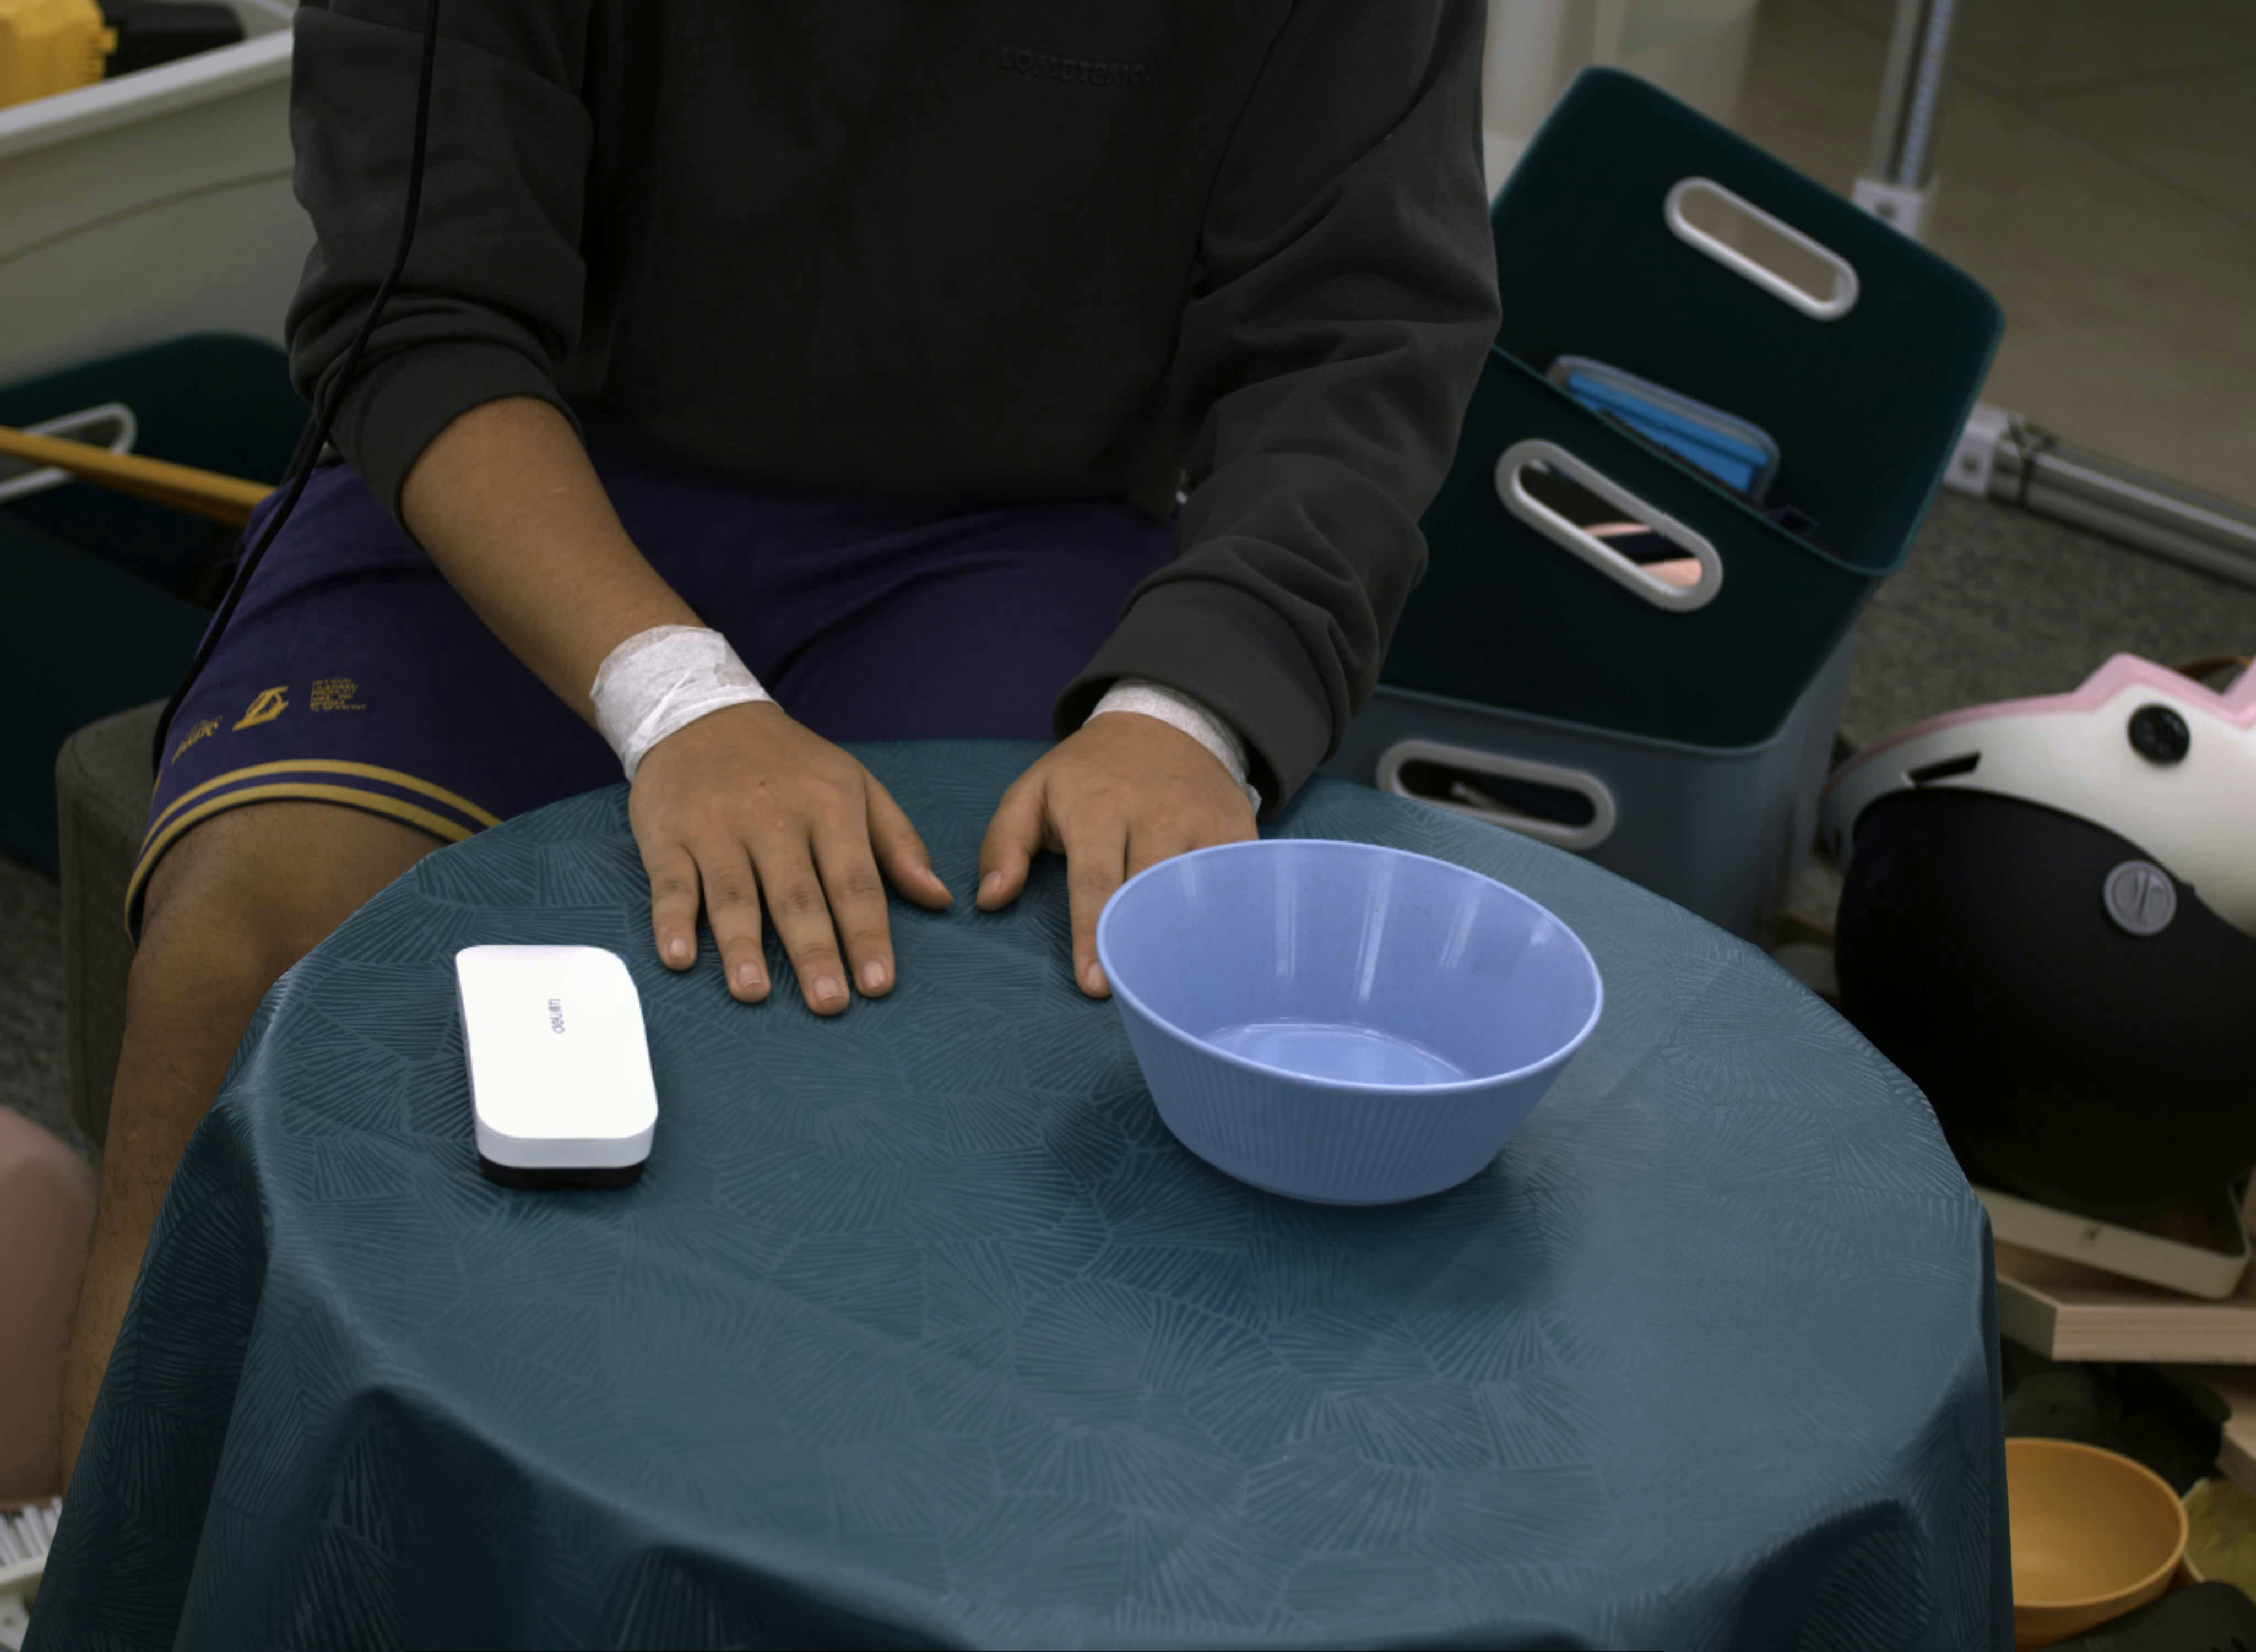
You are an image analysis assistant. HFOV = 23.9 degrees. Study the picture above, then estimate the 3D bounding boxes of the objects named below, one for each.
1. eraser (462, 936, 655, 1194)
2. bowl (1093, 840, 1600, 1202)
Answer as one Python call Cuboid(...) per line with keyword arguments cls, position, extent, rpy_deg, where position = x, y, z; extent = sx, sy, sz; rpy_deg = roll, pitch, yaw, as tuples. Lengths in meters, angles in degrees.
Cuboid(cls="eraser", position=(-0.194, 0.078, 1.812), extent=(0.063, 0.034, 0.132), rpy_deg=(3, 29, -10))
Cuboid(cls="bowl", position=(0.071, 0.073, 1.838), extent=(0.175, 0.070, 0.177), rpy_deg=(6, 27, -3))
